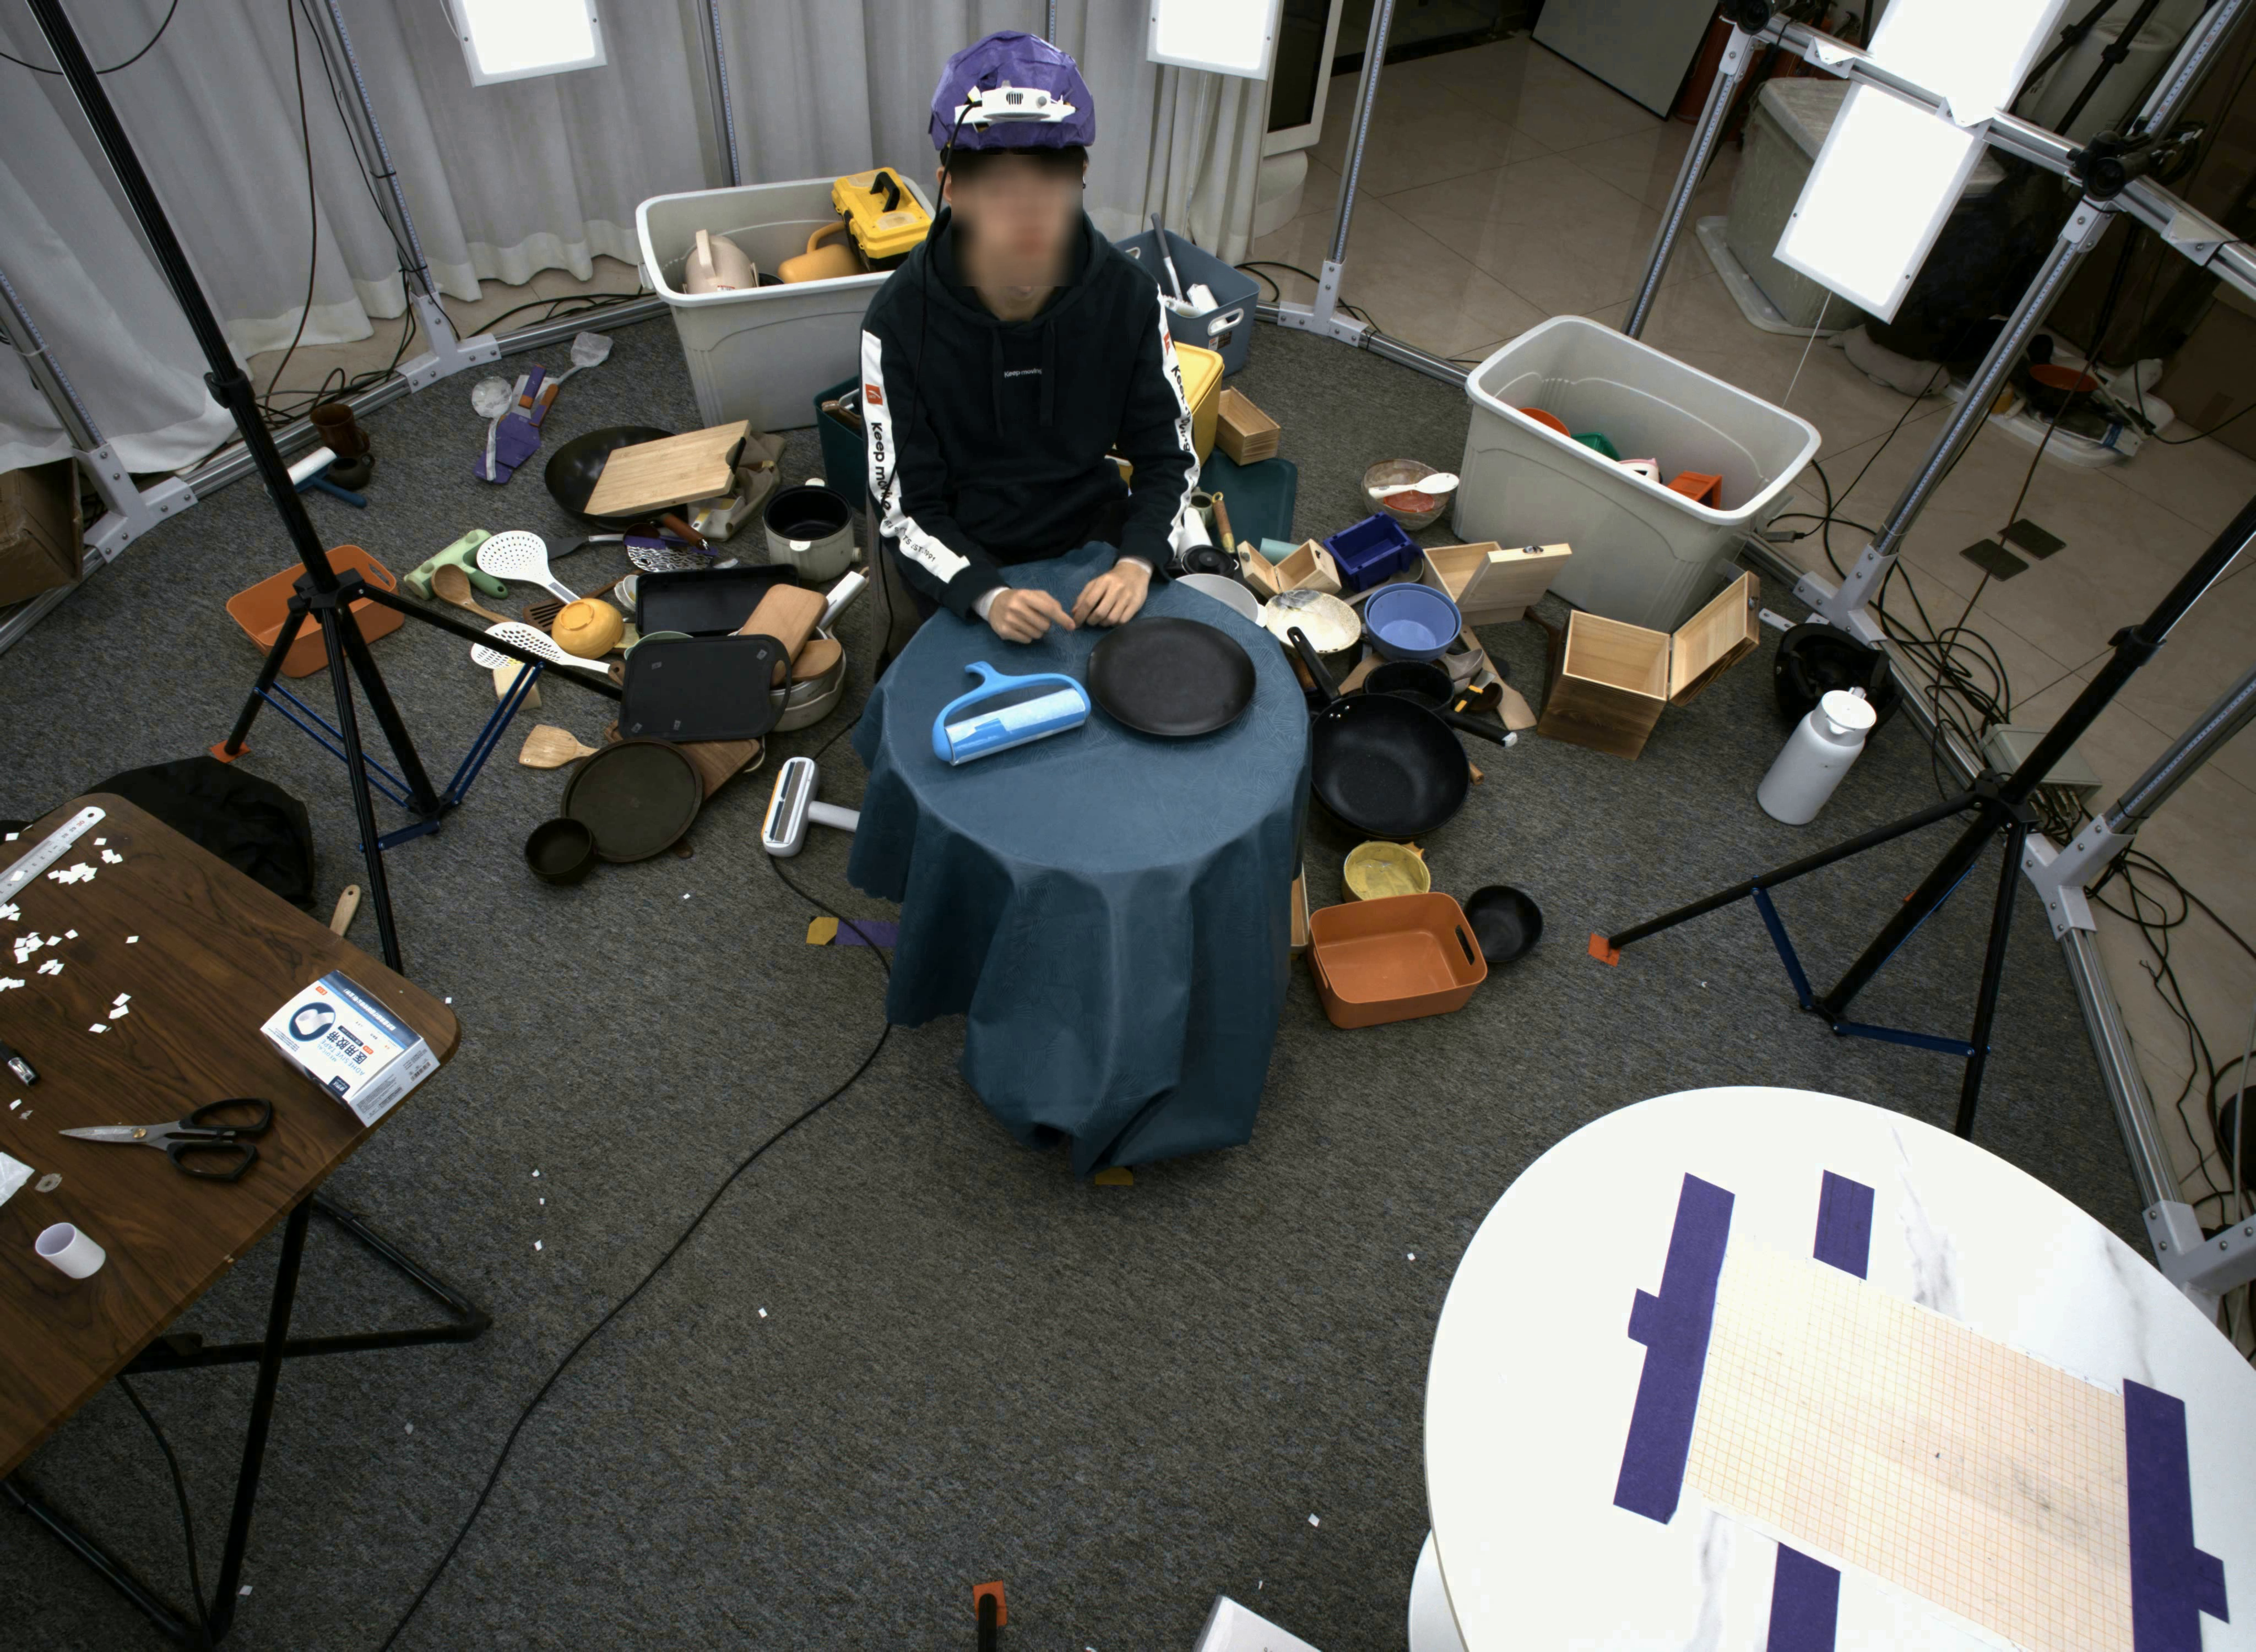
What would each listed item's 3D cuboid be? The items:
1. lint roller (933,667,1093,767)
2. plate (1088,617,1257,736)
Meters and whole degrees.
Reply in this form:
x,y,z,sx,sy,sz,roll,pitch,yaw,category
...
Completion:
x,y,z,sx,sy,sz,roll,pitch,yaw,category
-0.182,-0.176,1.772,0.229,0.066,0.184,-22,53,-21,lint roller
0.063,-0.212,1.841,0.244,0.023,0.250,2,49,-2,plate
